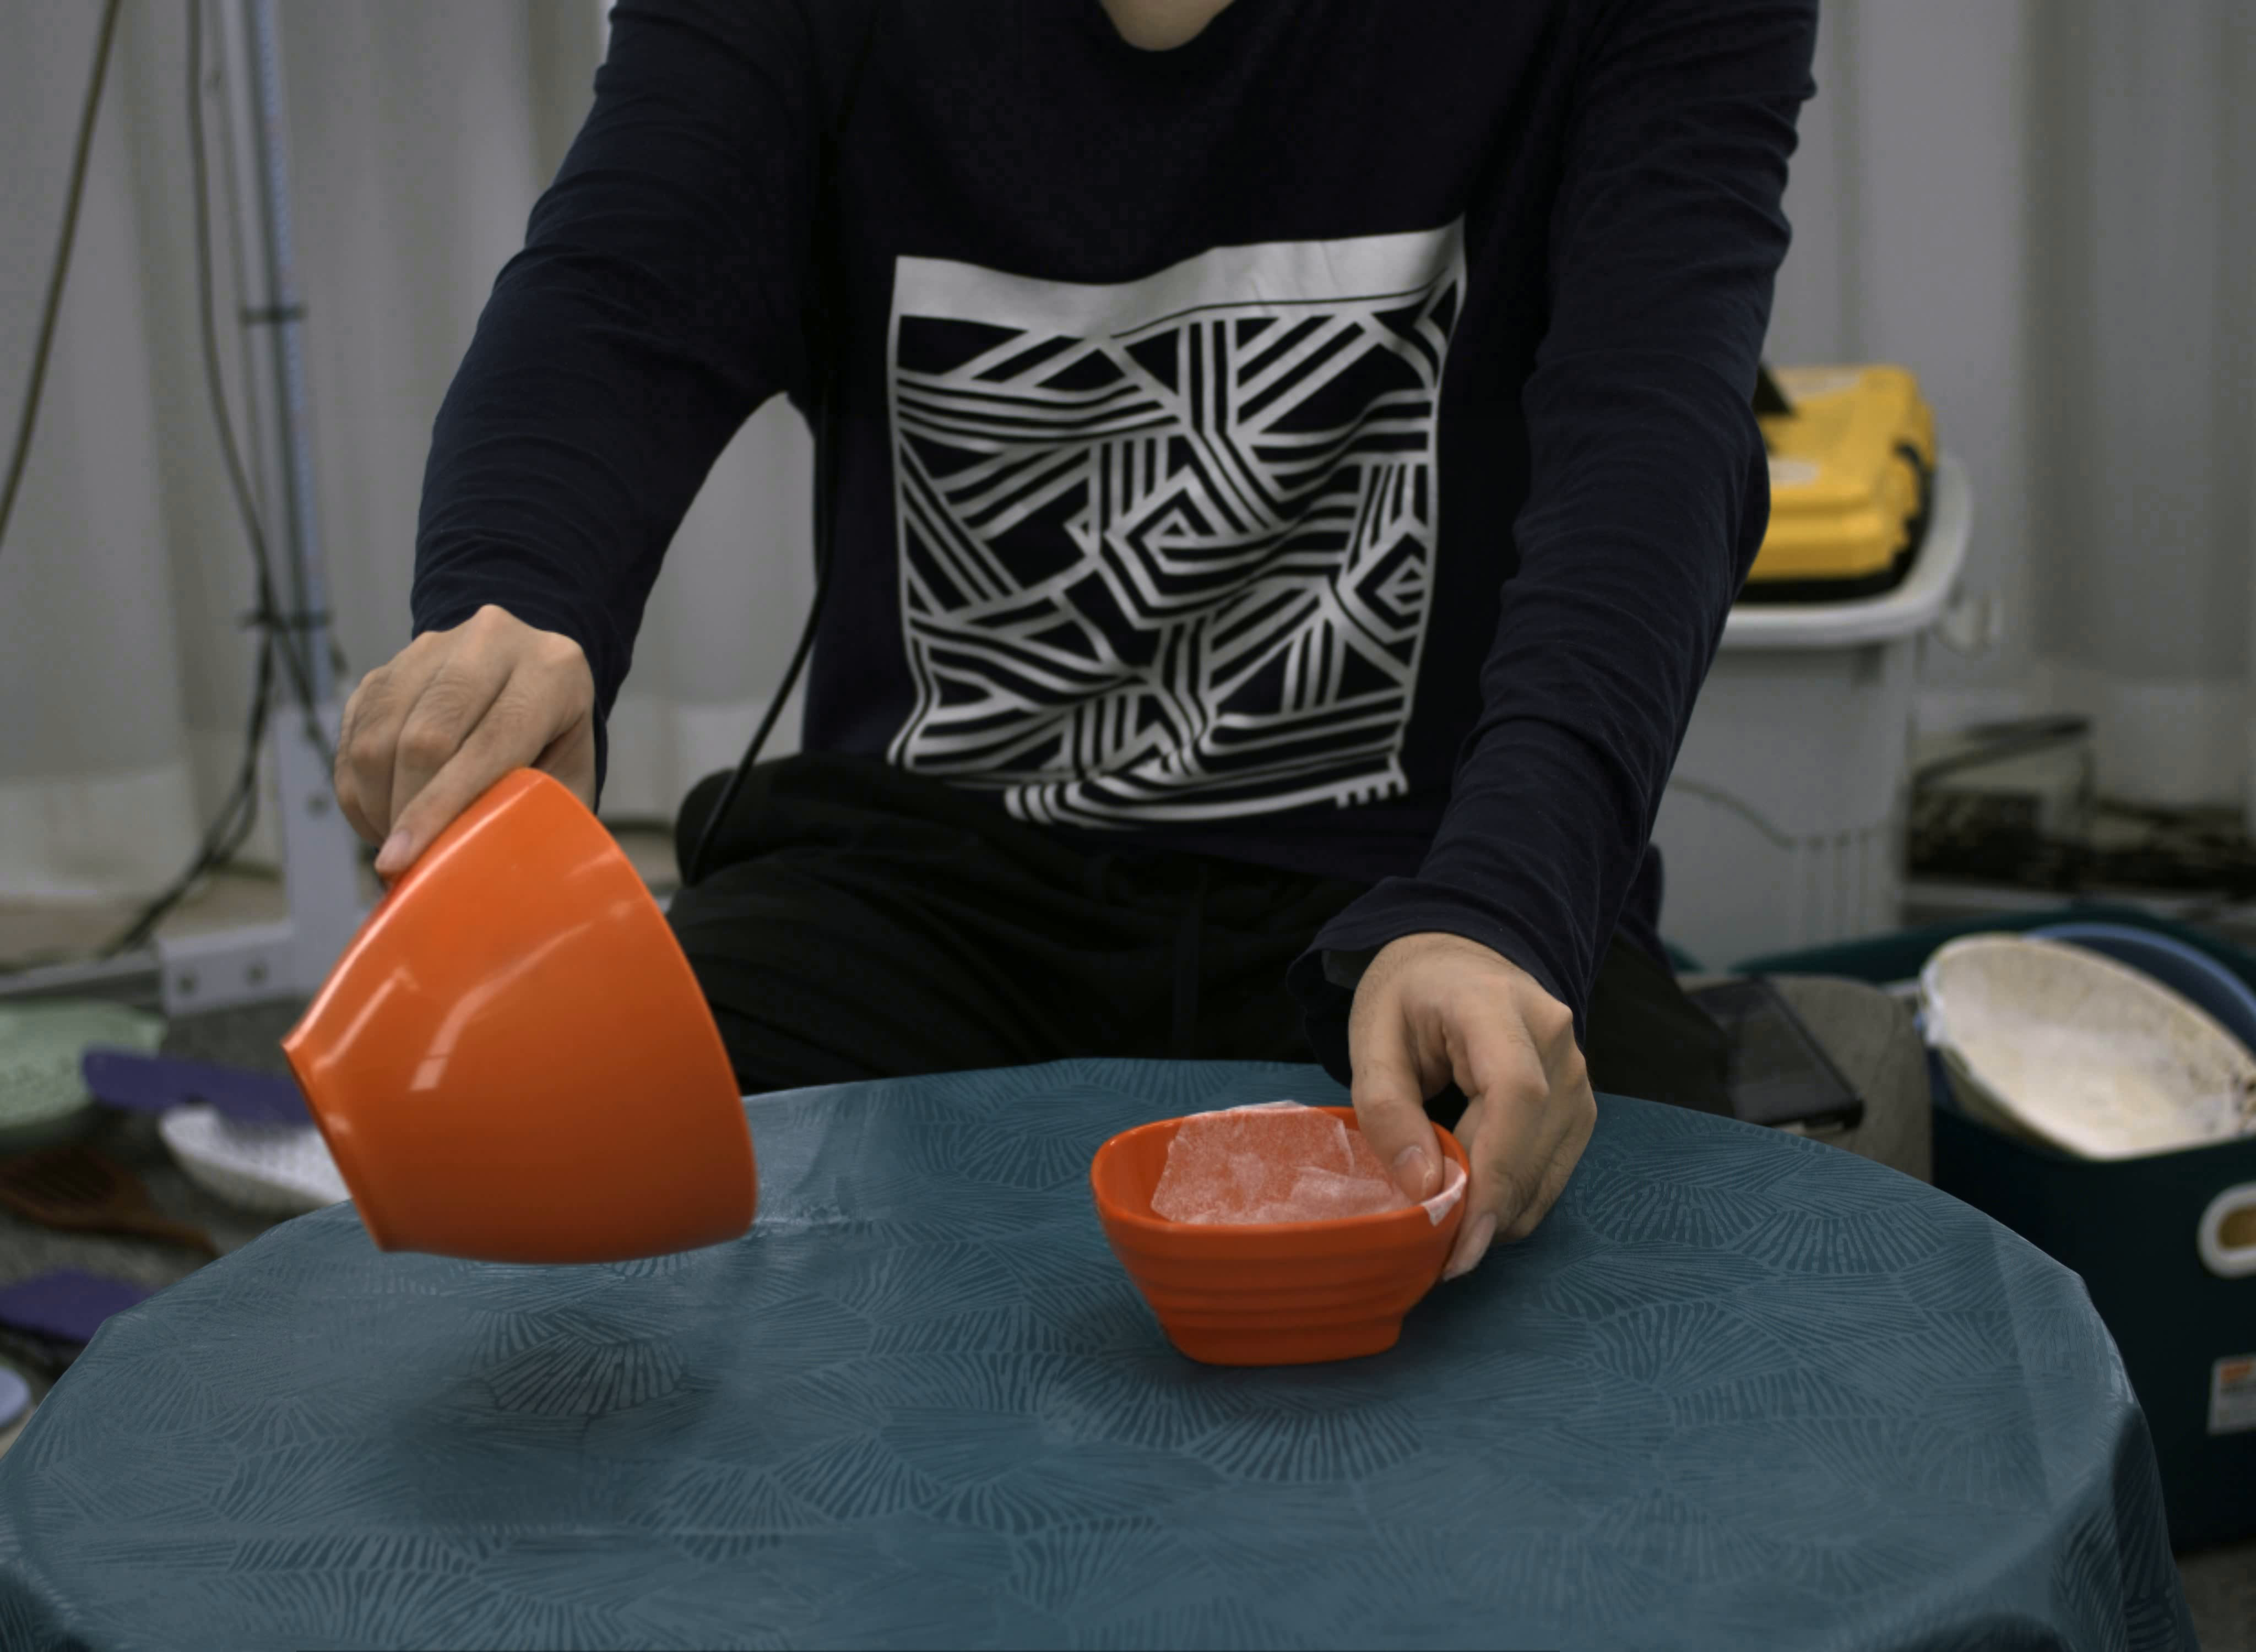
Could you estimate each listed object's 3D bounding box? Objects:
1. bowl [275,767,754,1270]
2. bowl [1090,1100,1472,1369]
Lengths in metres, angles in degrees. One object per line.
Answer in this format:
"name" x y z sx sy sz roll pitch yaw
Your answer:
"bowl" -0.179 0.069 1.539 0.104 0.147 0.149 -27 20 -12
"bowl" 0.045 0.121 1.586 0.118 0.051 0.120 -4 15 1
